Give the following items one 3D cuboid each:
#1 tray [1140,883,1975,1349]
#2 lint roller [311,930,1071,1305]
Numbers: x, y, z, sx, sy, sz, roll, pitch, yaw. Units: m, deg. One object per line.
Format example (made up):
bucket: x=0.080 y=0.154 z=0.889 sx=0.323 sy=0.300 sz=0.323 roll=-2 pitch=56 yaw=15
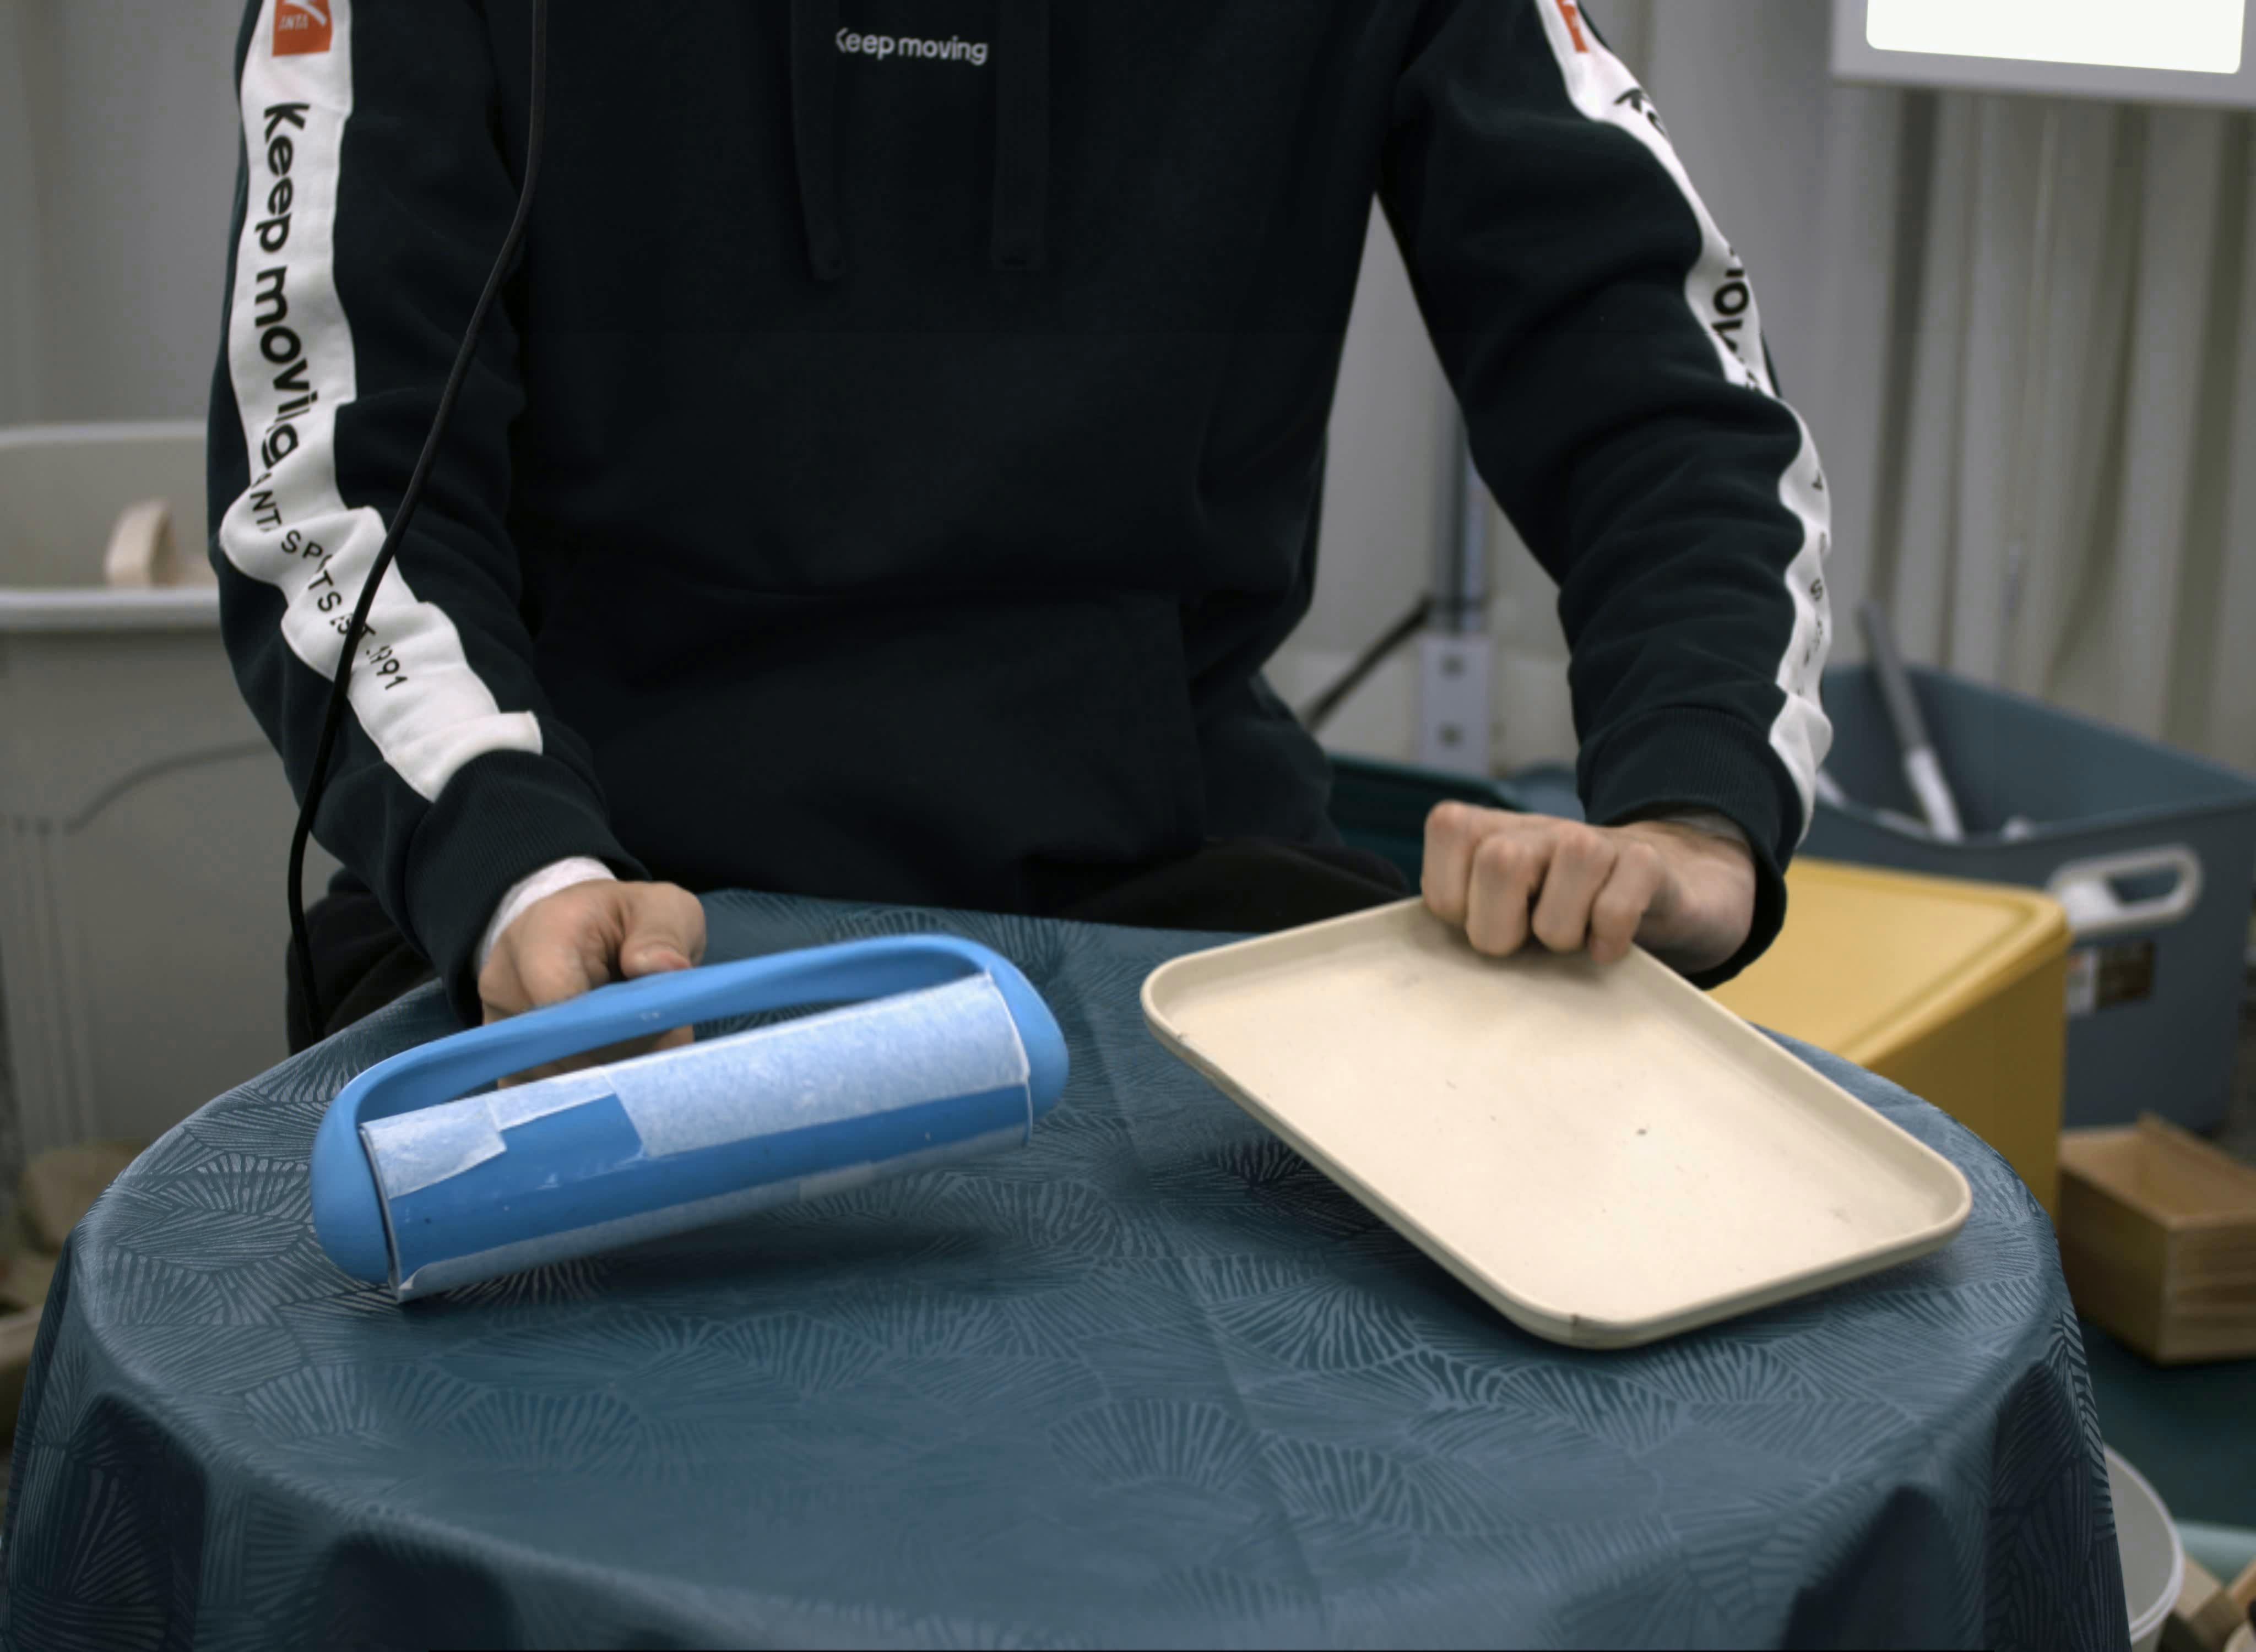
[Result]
tray: x=0.127 y=0.086 z=1.599 sx=0.172 sy=0.017 sz=0.236 roll=-12 pitch=32 yaw=-33
lint roller: x=-0.146 y=0.077 z=1.594 sx=0.229 sy=0.068 sz=0.178 roll=-16 pitch=16 yaw=-17
